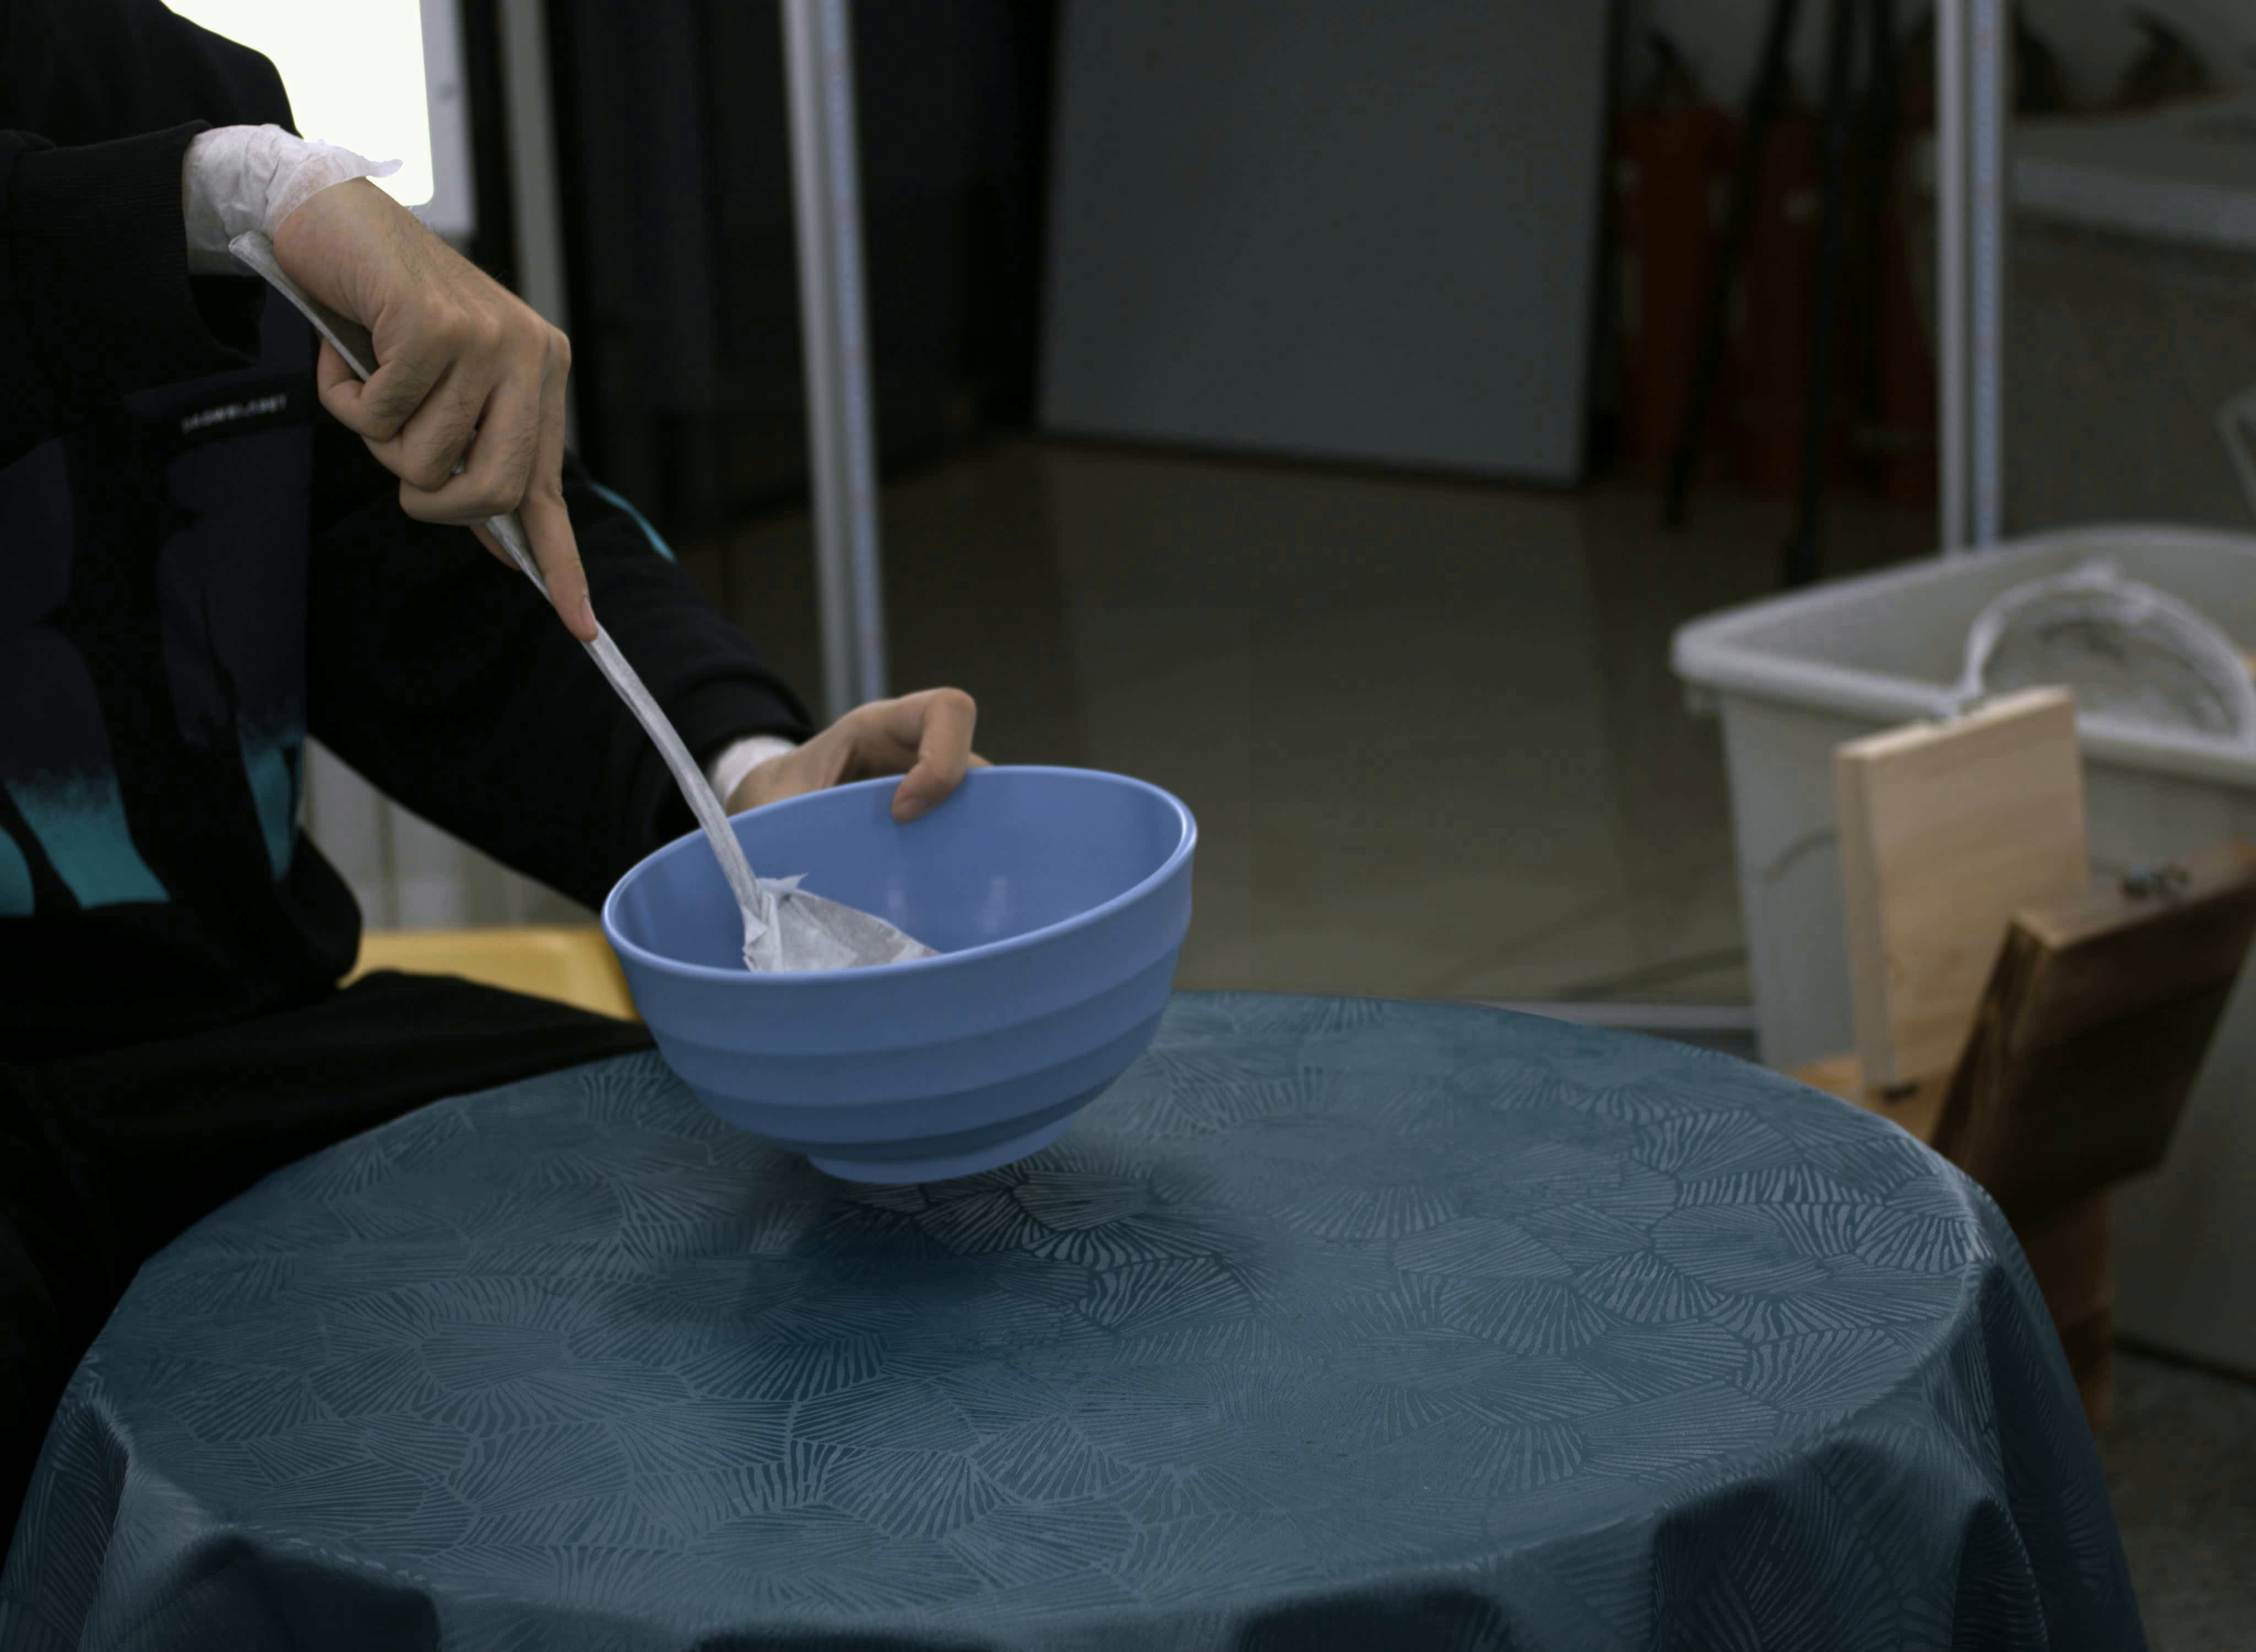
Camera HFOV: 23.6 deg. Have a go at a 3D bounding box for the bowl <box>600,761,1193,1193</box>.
[{"bbox_3d":[-0.068,0.057,1.754,0.194,0.096,0.197,-10,19,2],"label":"bowl"}]

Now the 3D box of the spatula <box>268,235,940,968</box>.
[{"bbox_3d":[-0.157,-0.049,1.750,0.045,0.365,0.098,-32,9,26],"label":"spatula"}]
